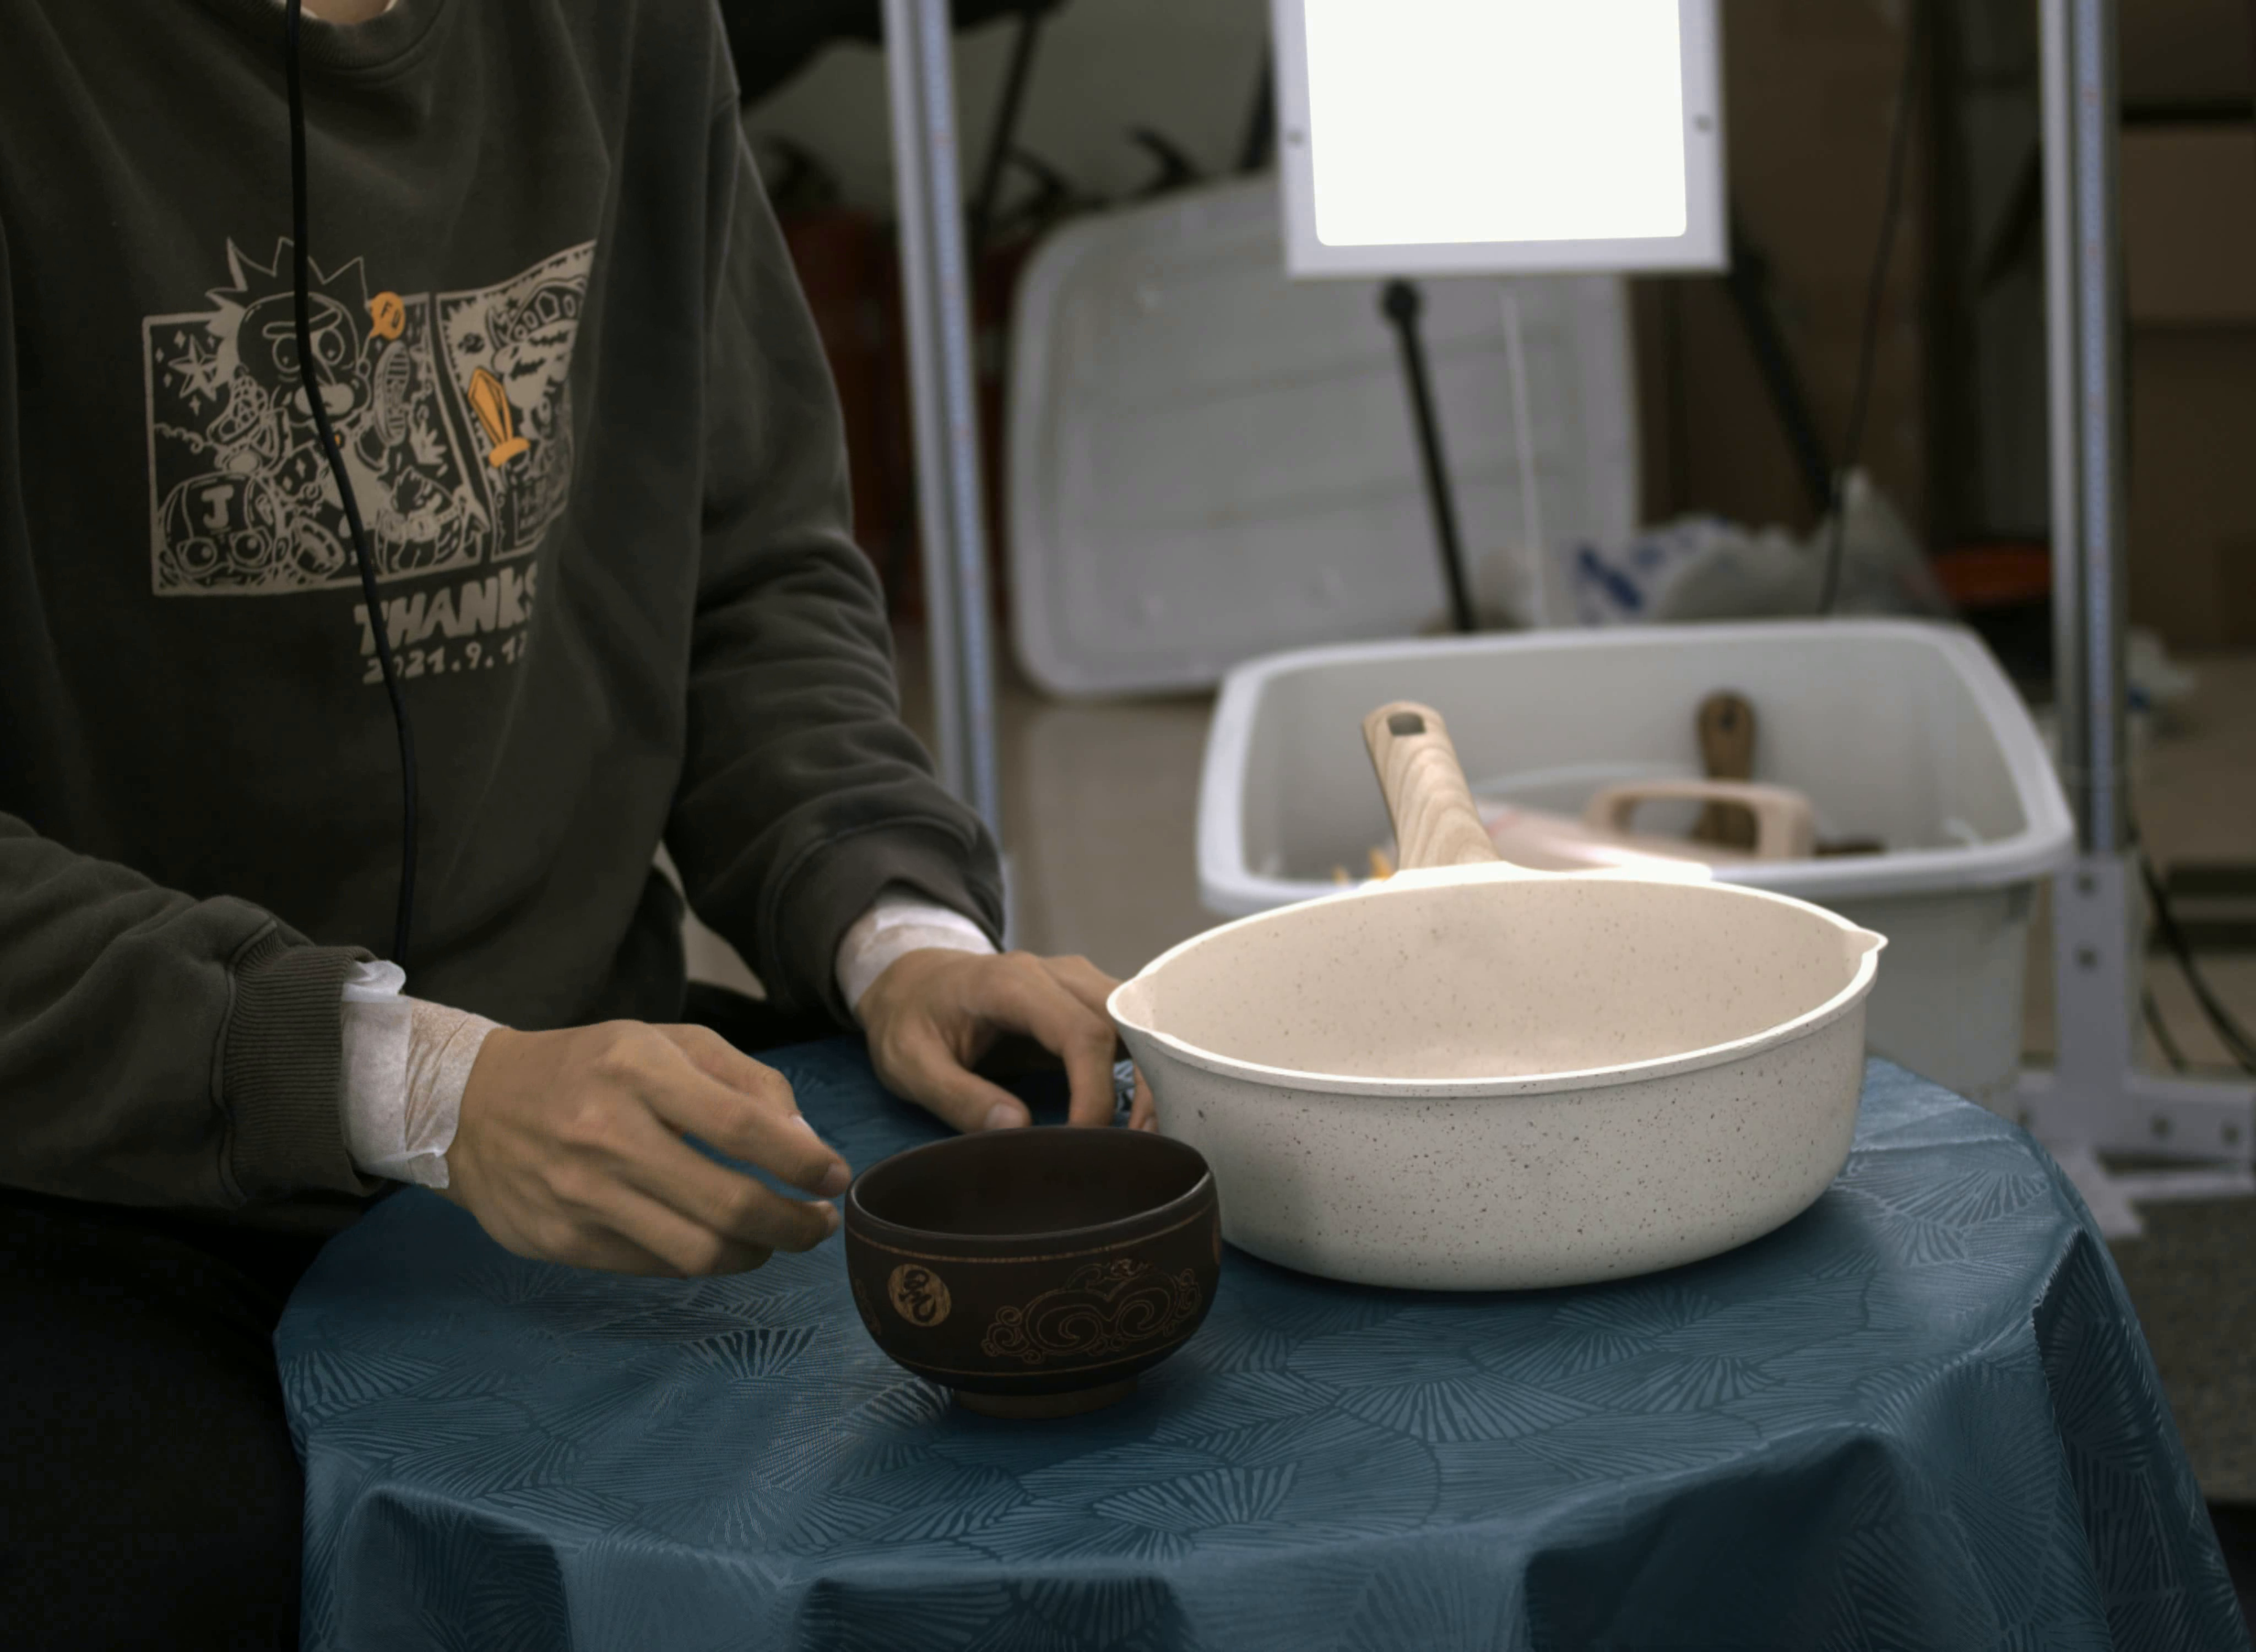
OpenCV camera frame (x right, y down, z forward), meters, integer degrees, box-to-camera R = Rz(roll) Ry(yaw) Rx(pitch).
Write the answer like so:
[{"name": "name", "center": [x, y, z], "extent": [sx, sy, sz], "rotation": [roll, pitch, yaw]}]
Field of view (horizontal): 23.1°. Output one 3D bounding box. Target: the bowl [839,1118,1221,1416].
[{"name": "bowl", "center": [-0.028, 0.140, 1.702], "extent": [0.118, 0.070, 0.118], "rotation": [-7, 14, 0]}]

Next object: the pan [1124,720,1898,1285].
[{"name": "pan", "center": [0.126, 0.057, 1.926], "extent": [0.262, 0.102, 0.435], "rotation": [-7, 14, -1]}]
